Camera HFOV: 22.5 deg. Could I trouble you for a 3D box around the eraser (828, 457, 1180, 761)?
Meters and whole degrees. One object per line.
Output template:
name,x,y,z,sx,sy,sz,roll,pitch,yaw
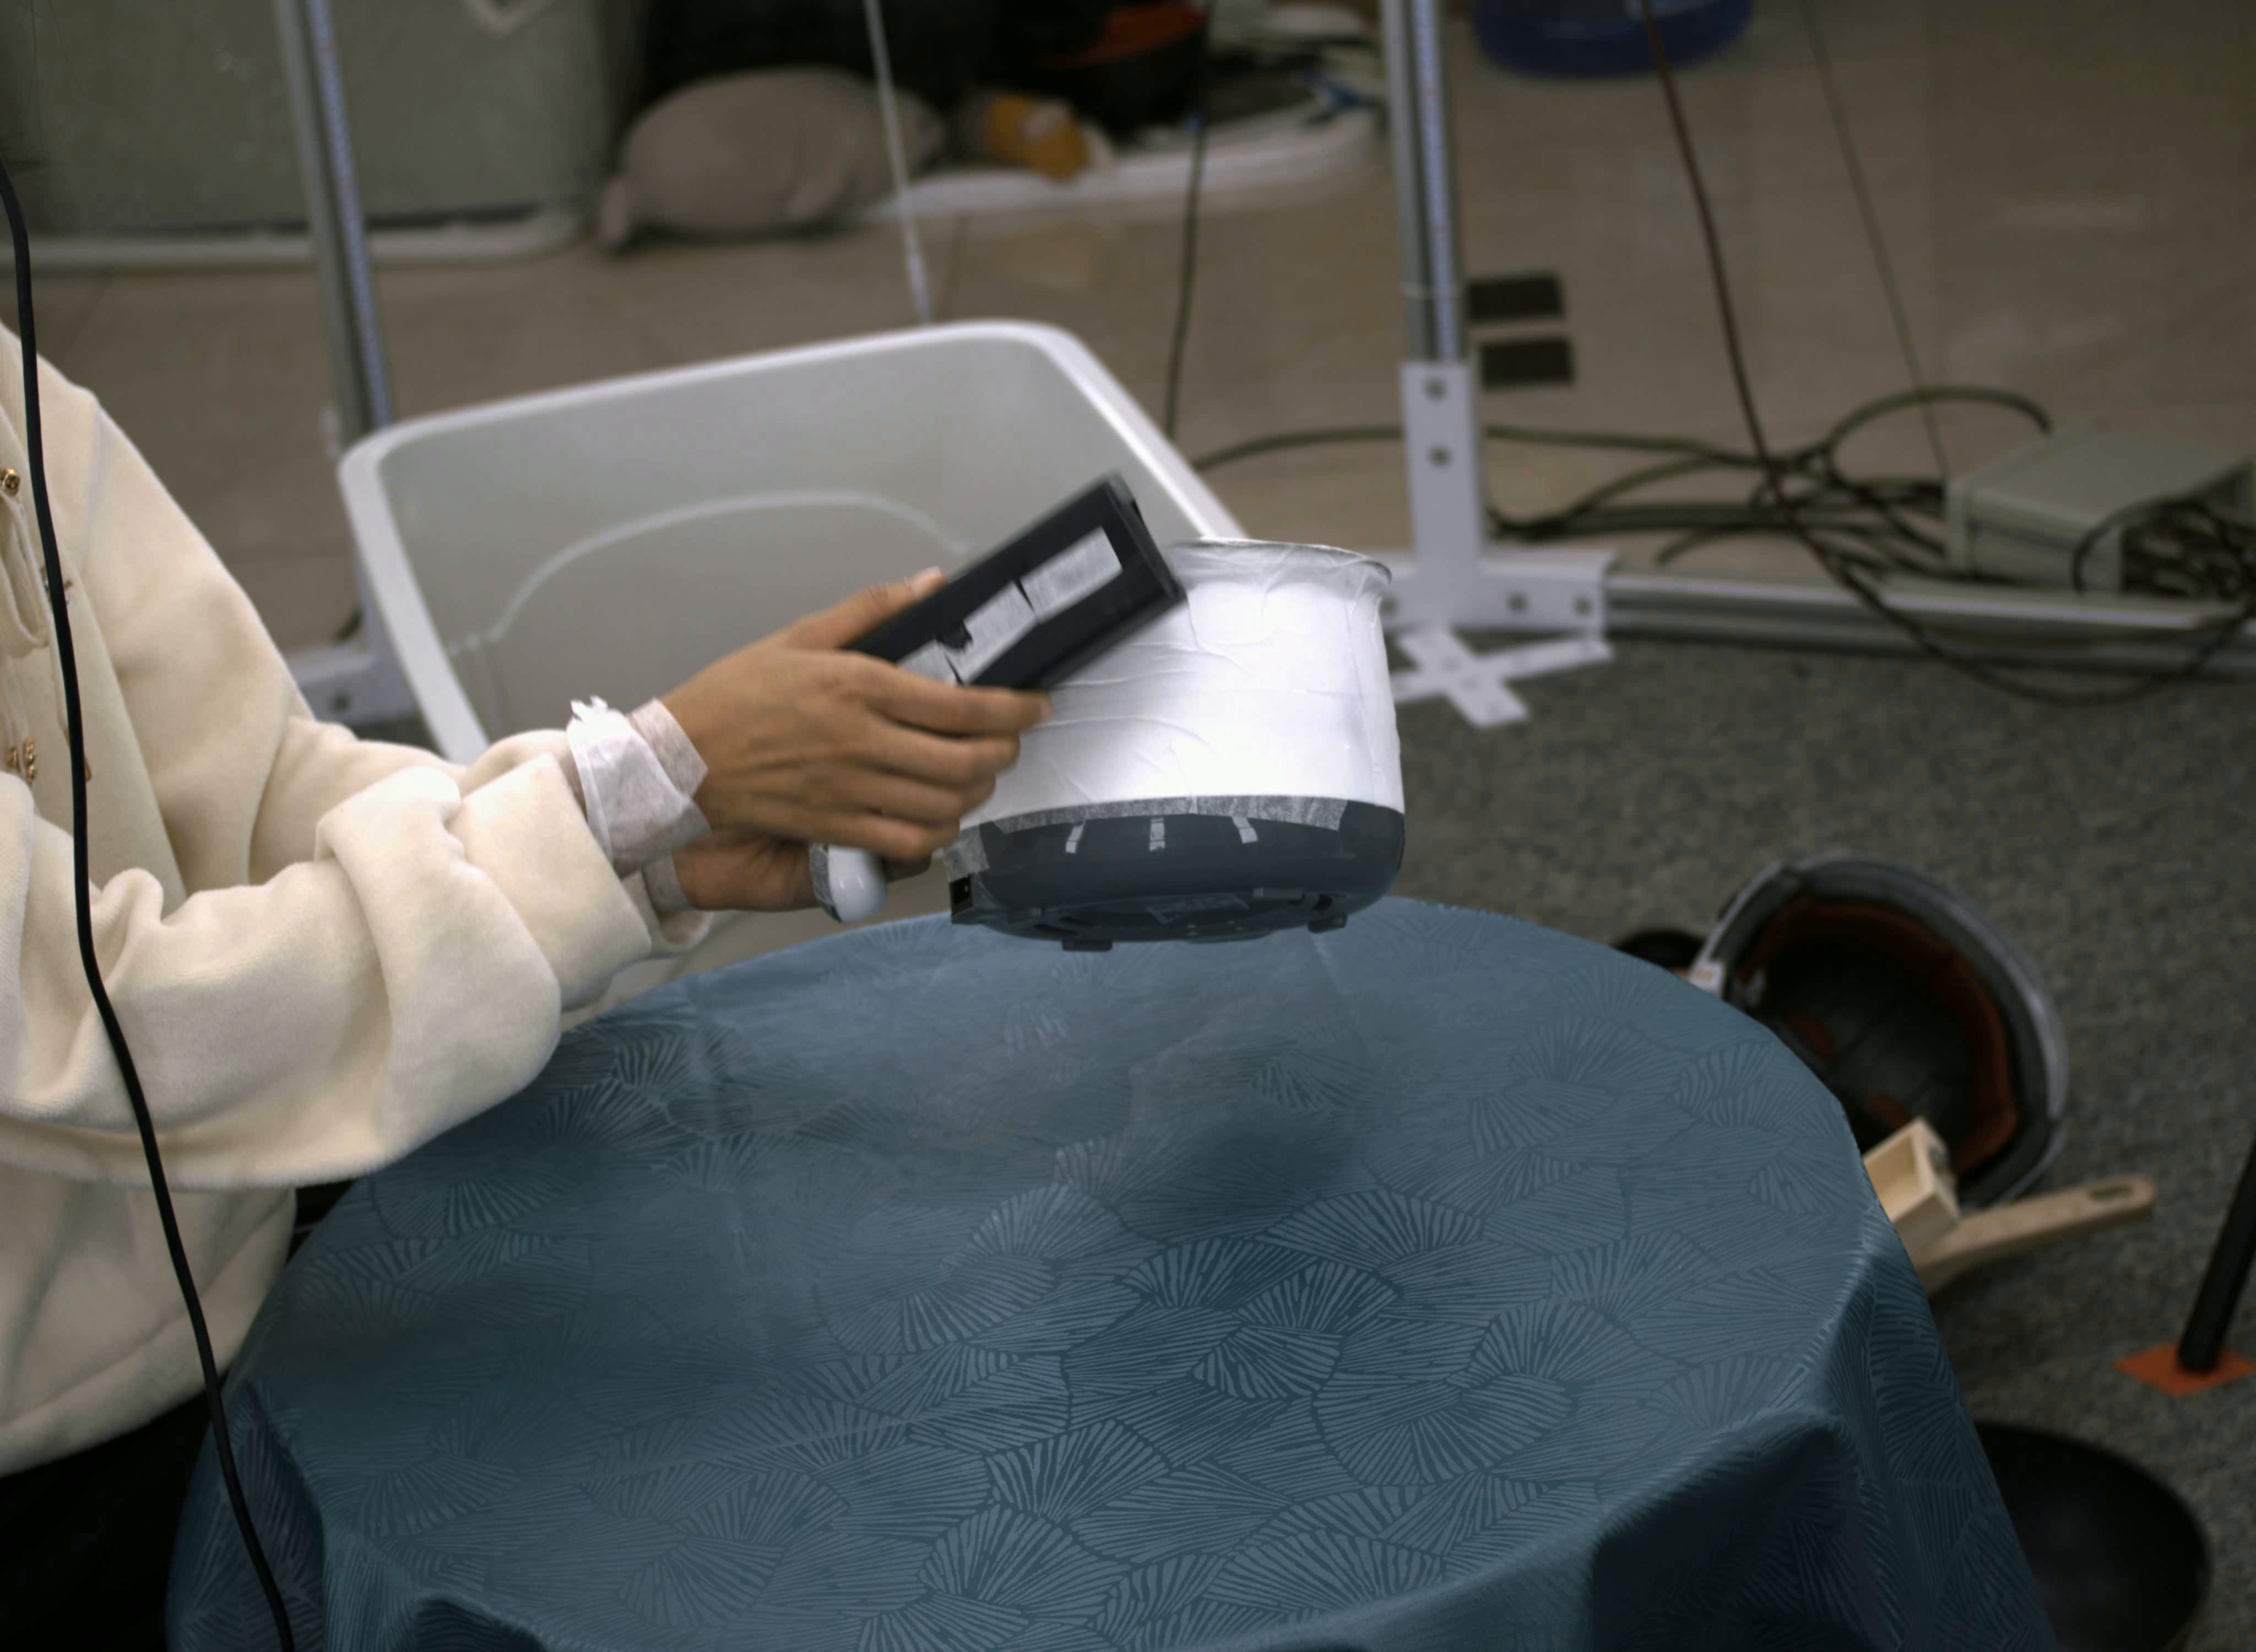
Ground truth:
eraser,-0.045,-0.079,2.056,0.126,0.053,0.030,-33,-11,13

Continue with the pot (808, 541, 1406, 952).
pot,-0.010,-0.026,2.168,0.233,0.136,0.179,-4,-8,11
